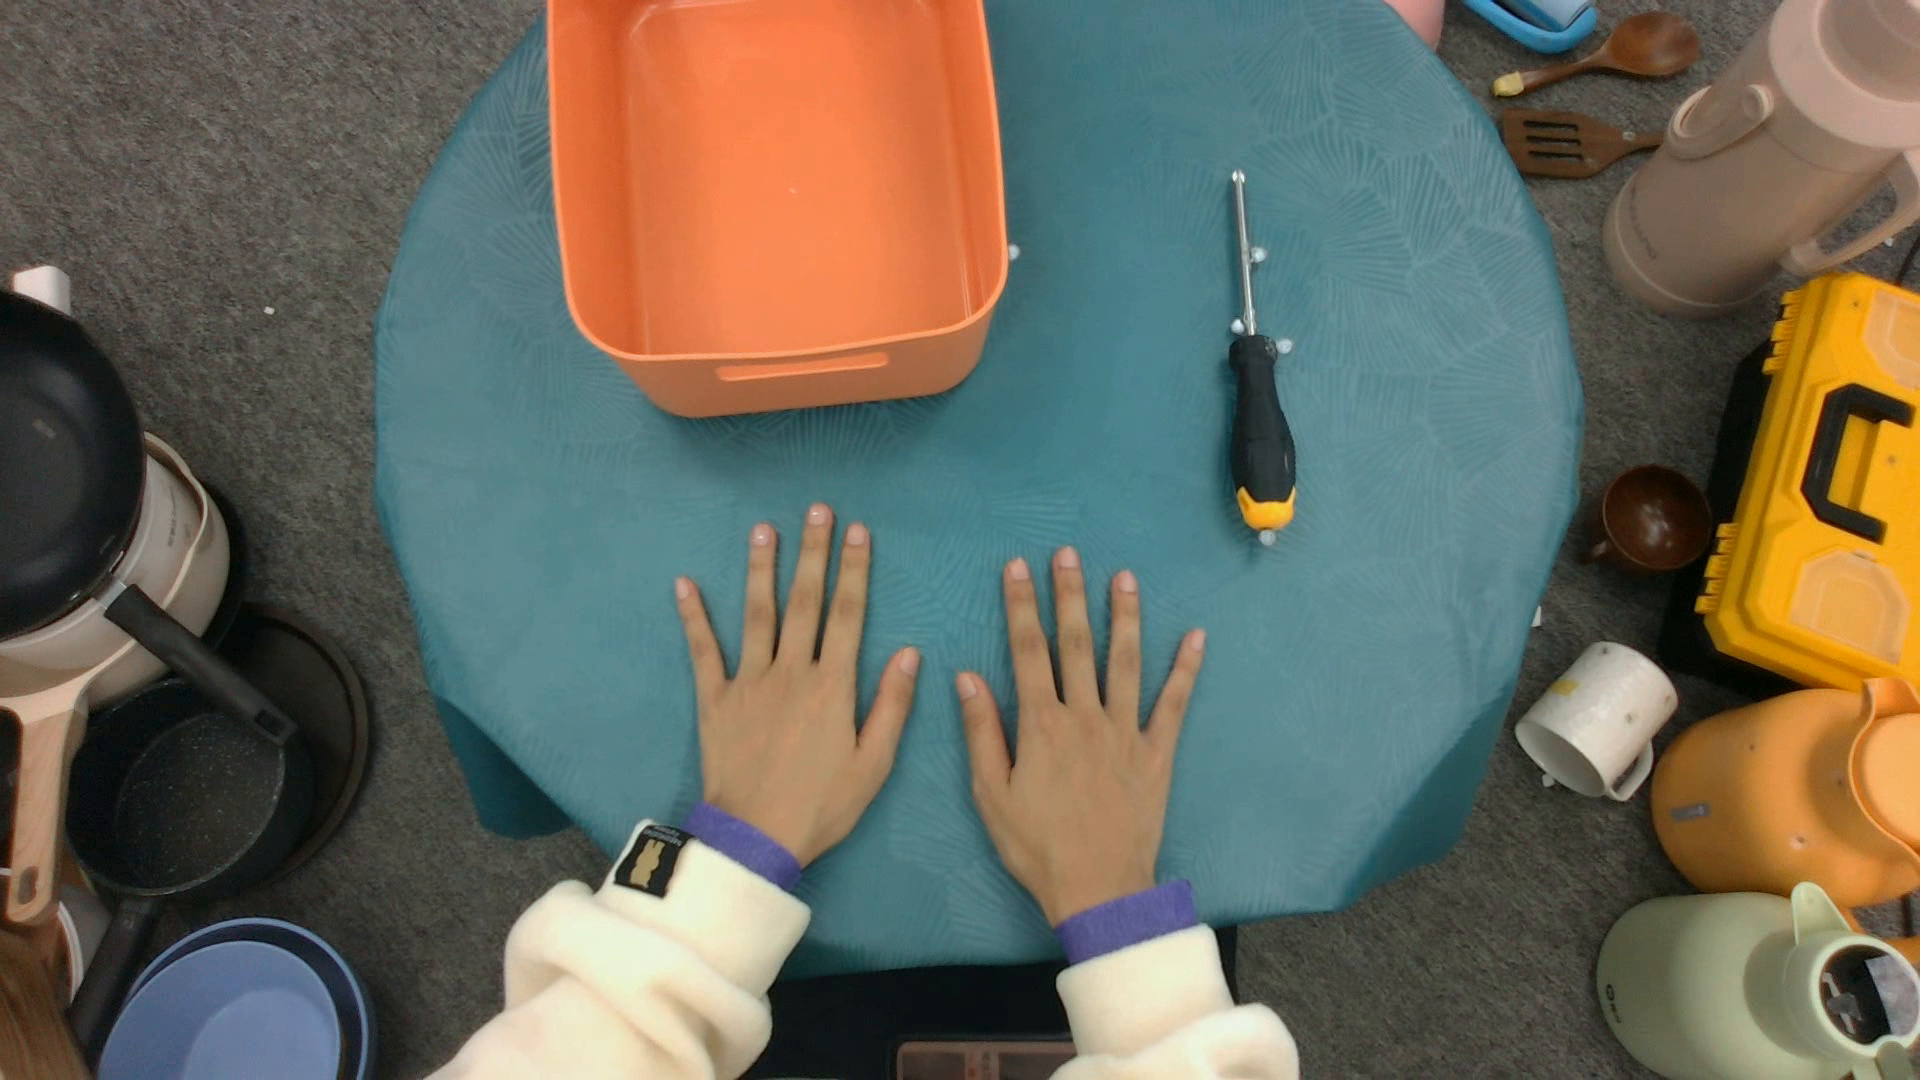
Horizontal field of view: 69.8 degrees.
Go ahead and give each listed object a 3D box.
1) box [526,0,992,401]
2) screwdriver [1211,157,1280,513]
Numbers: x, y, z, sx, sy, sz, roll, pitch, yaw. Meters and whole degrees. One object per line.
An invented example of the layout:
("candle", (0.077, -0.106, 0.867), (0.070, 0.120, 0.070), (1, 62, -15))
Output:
("box", (-0.095, -0.201, 0.664), (0.199, 0.102, 0.274), (-6, 73, -4))
("screwdriver", (0.140, -0.106, 0.687), (0.031, 0.031, 0.197), (2, 69, 0))
